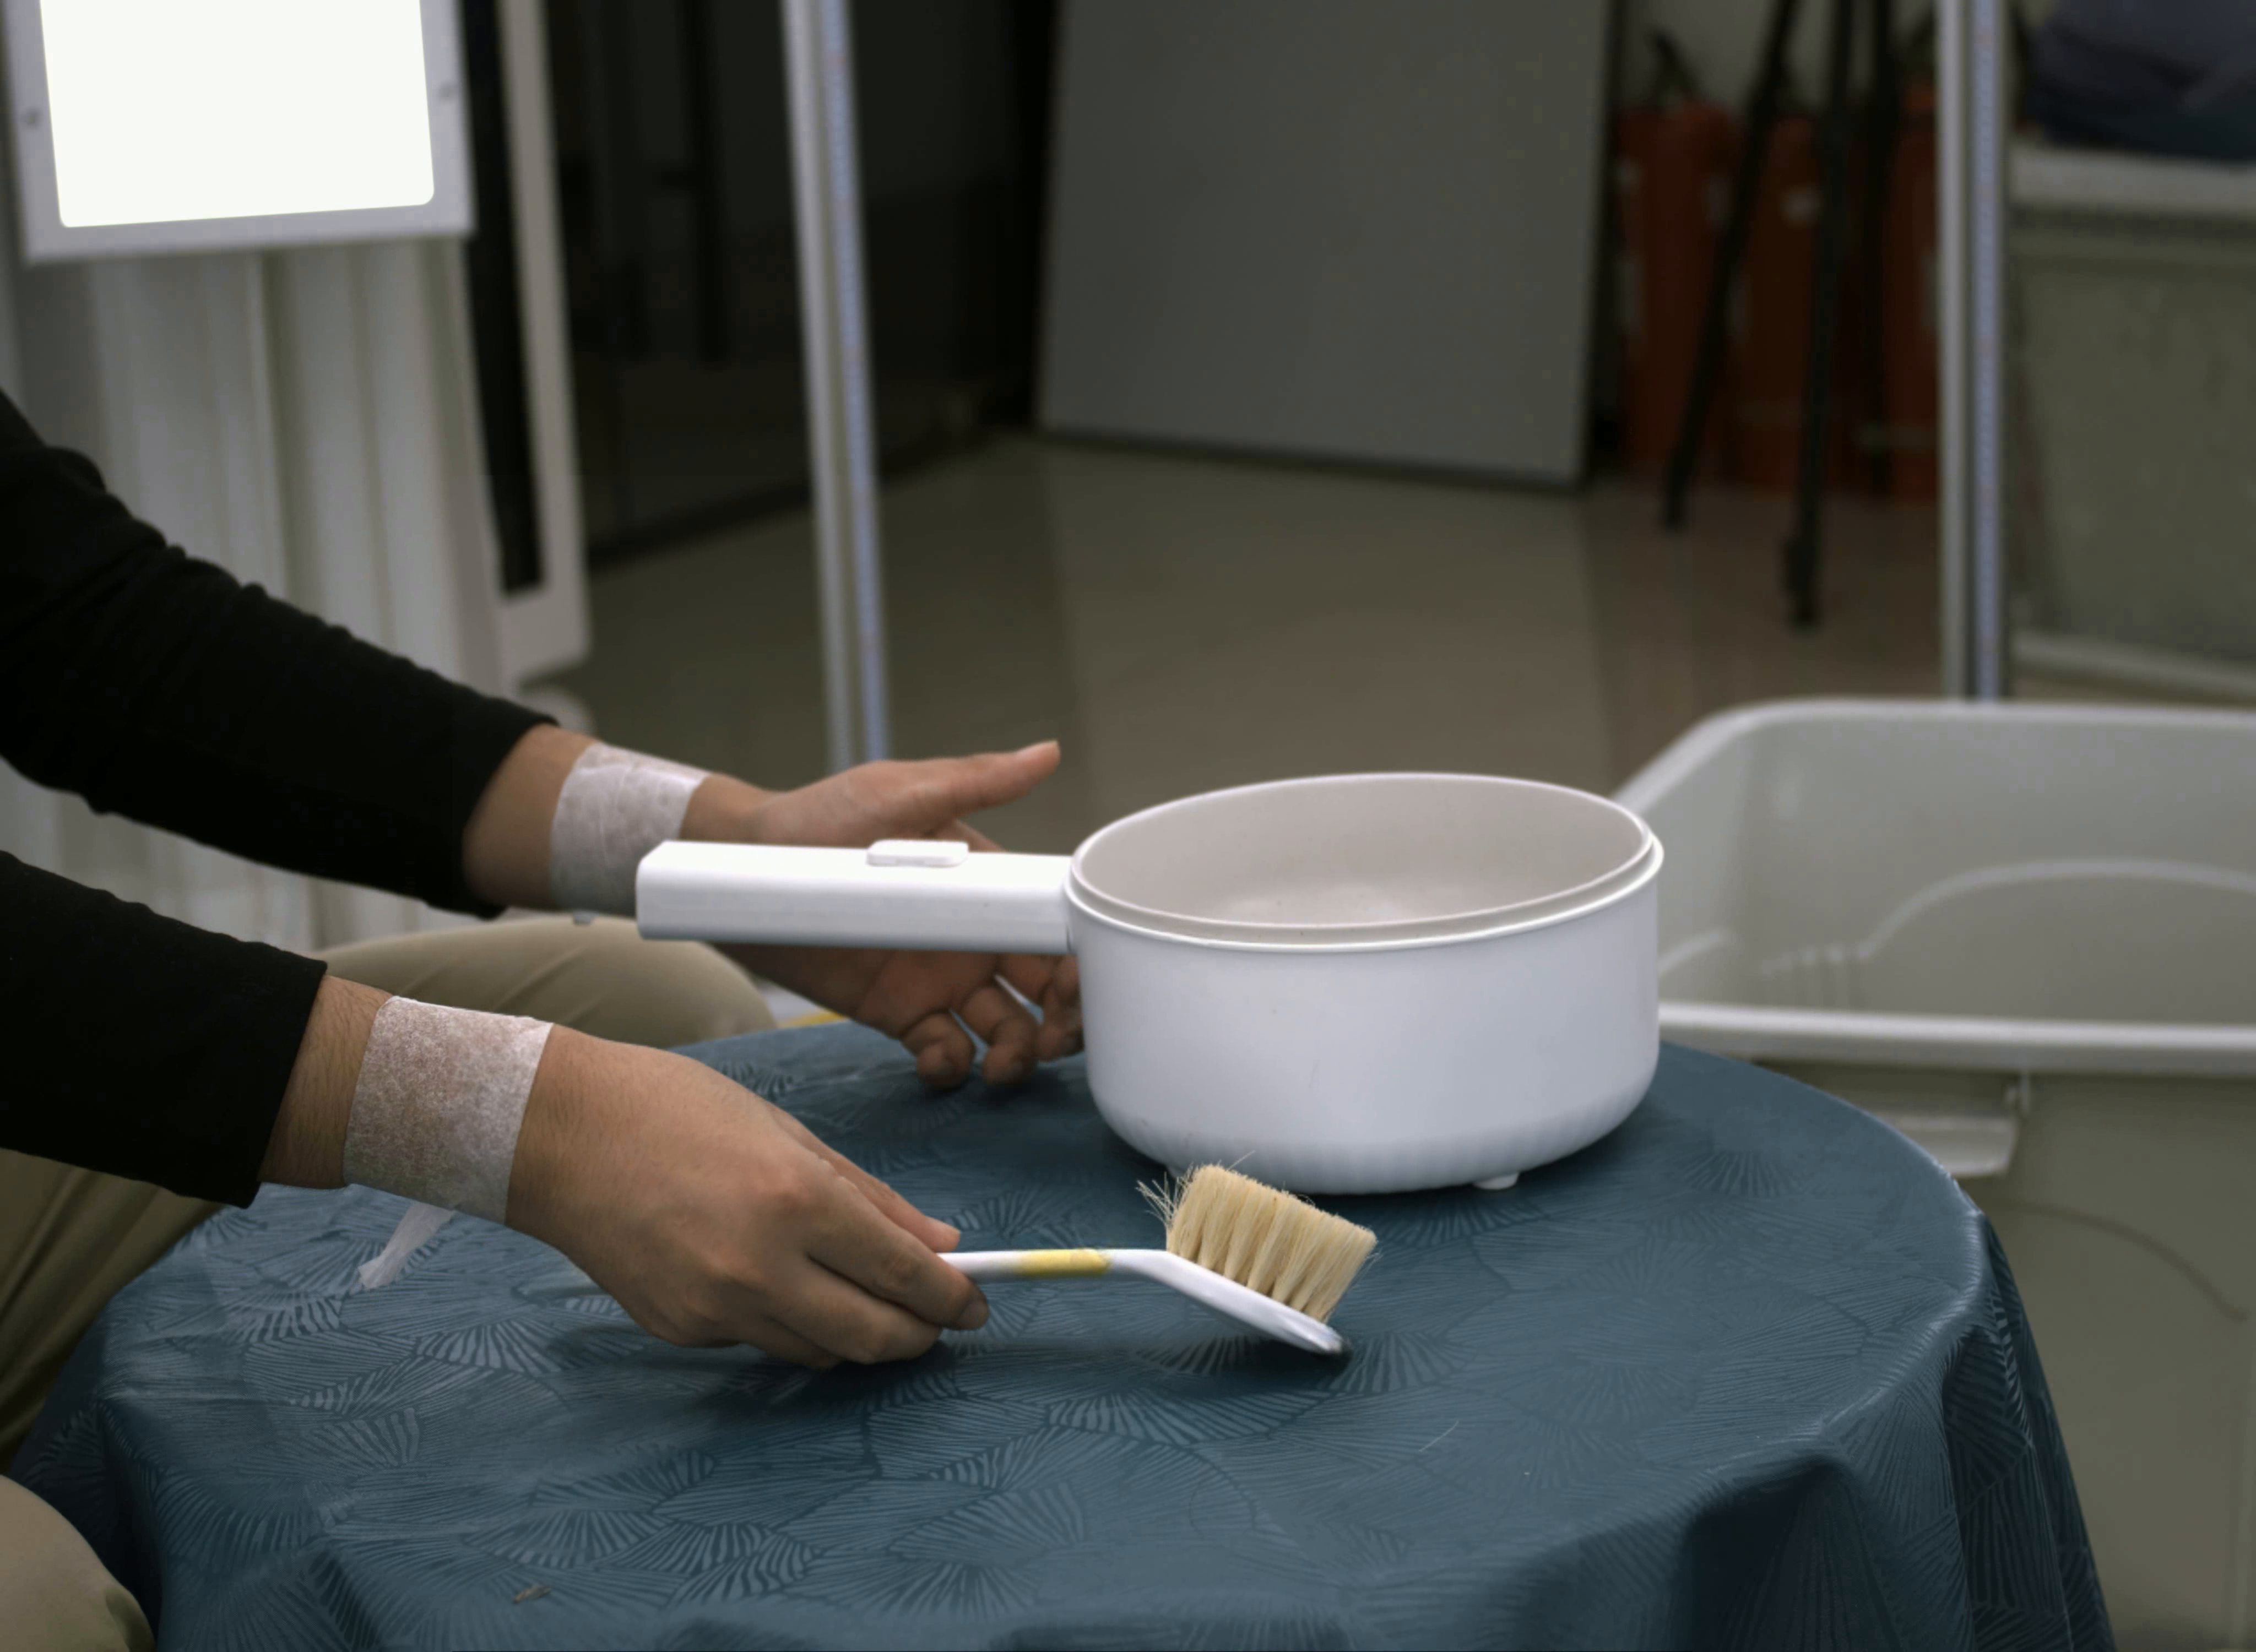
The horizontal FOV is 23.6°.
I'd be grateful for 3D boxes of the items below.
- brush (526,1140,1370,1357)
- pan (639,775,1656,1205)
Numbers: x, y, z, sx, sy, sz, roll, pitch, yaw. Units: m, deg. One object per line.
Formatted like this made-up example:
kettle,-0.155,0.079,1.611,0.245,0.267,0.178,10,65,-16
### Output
brush,-0.057,0.124,1.626,0.266,0.057,0.068,1,-17,20
pan,0.007,0.057,1.825,0.353,0.103,0.199,-1,15,17
